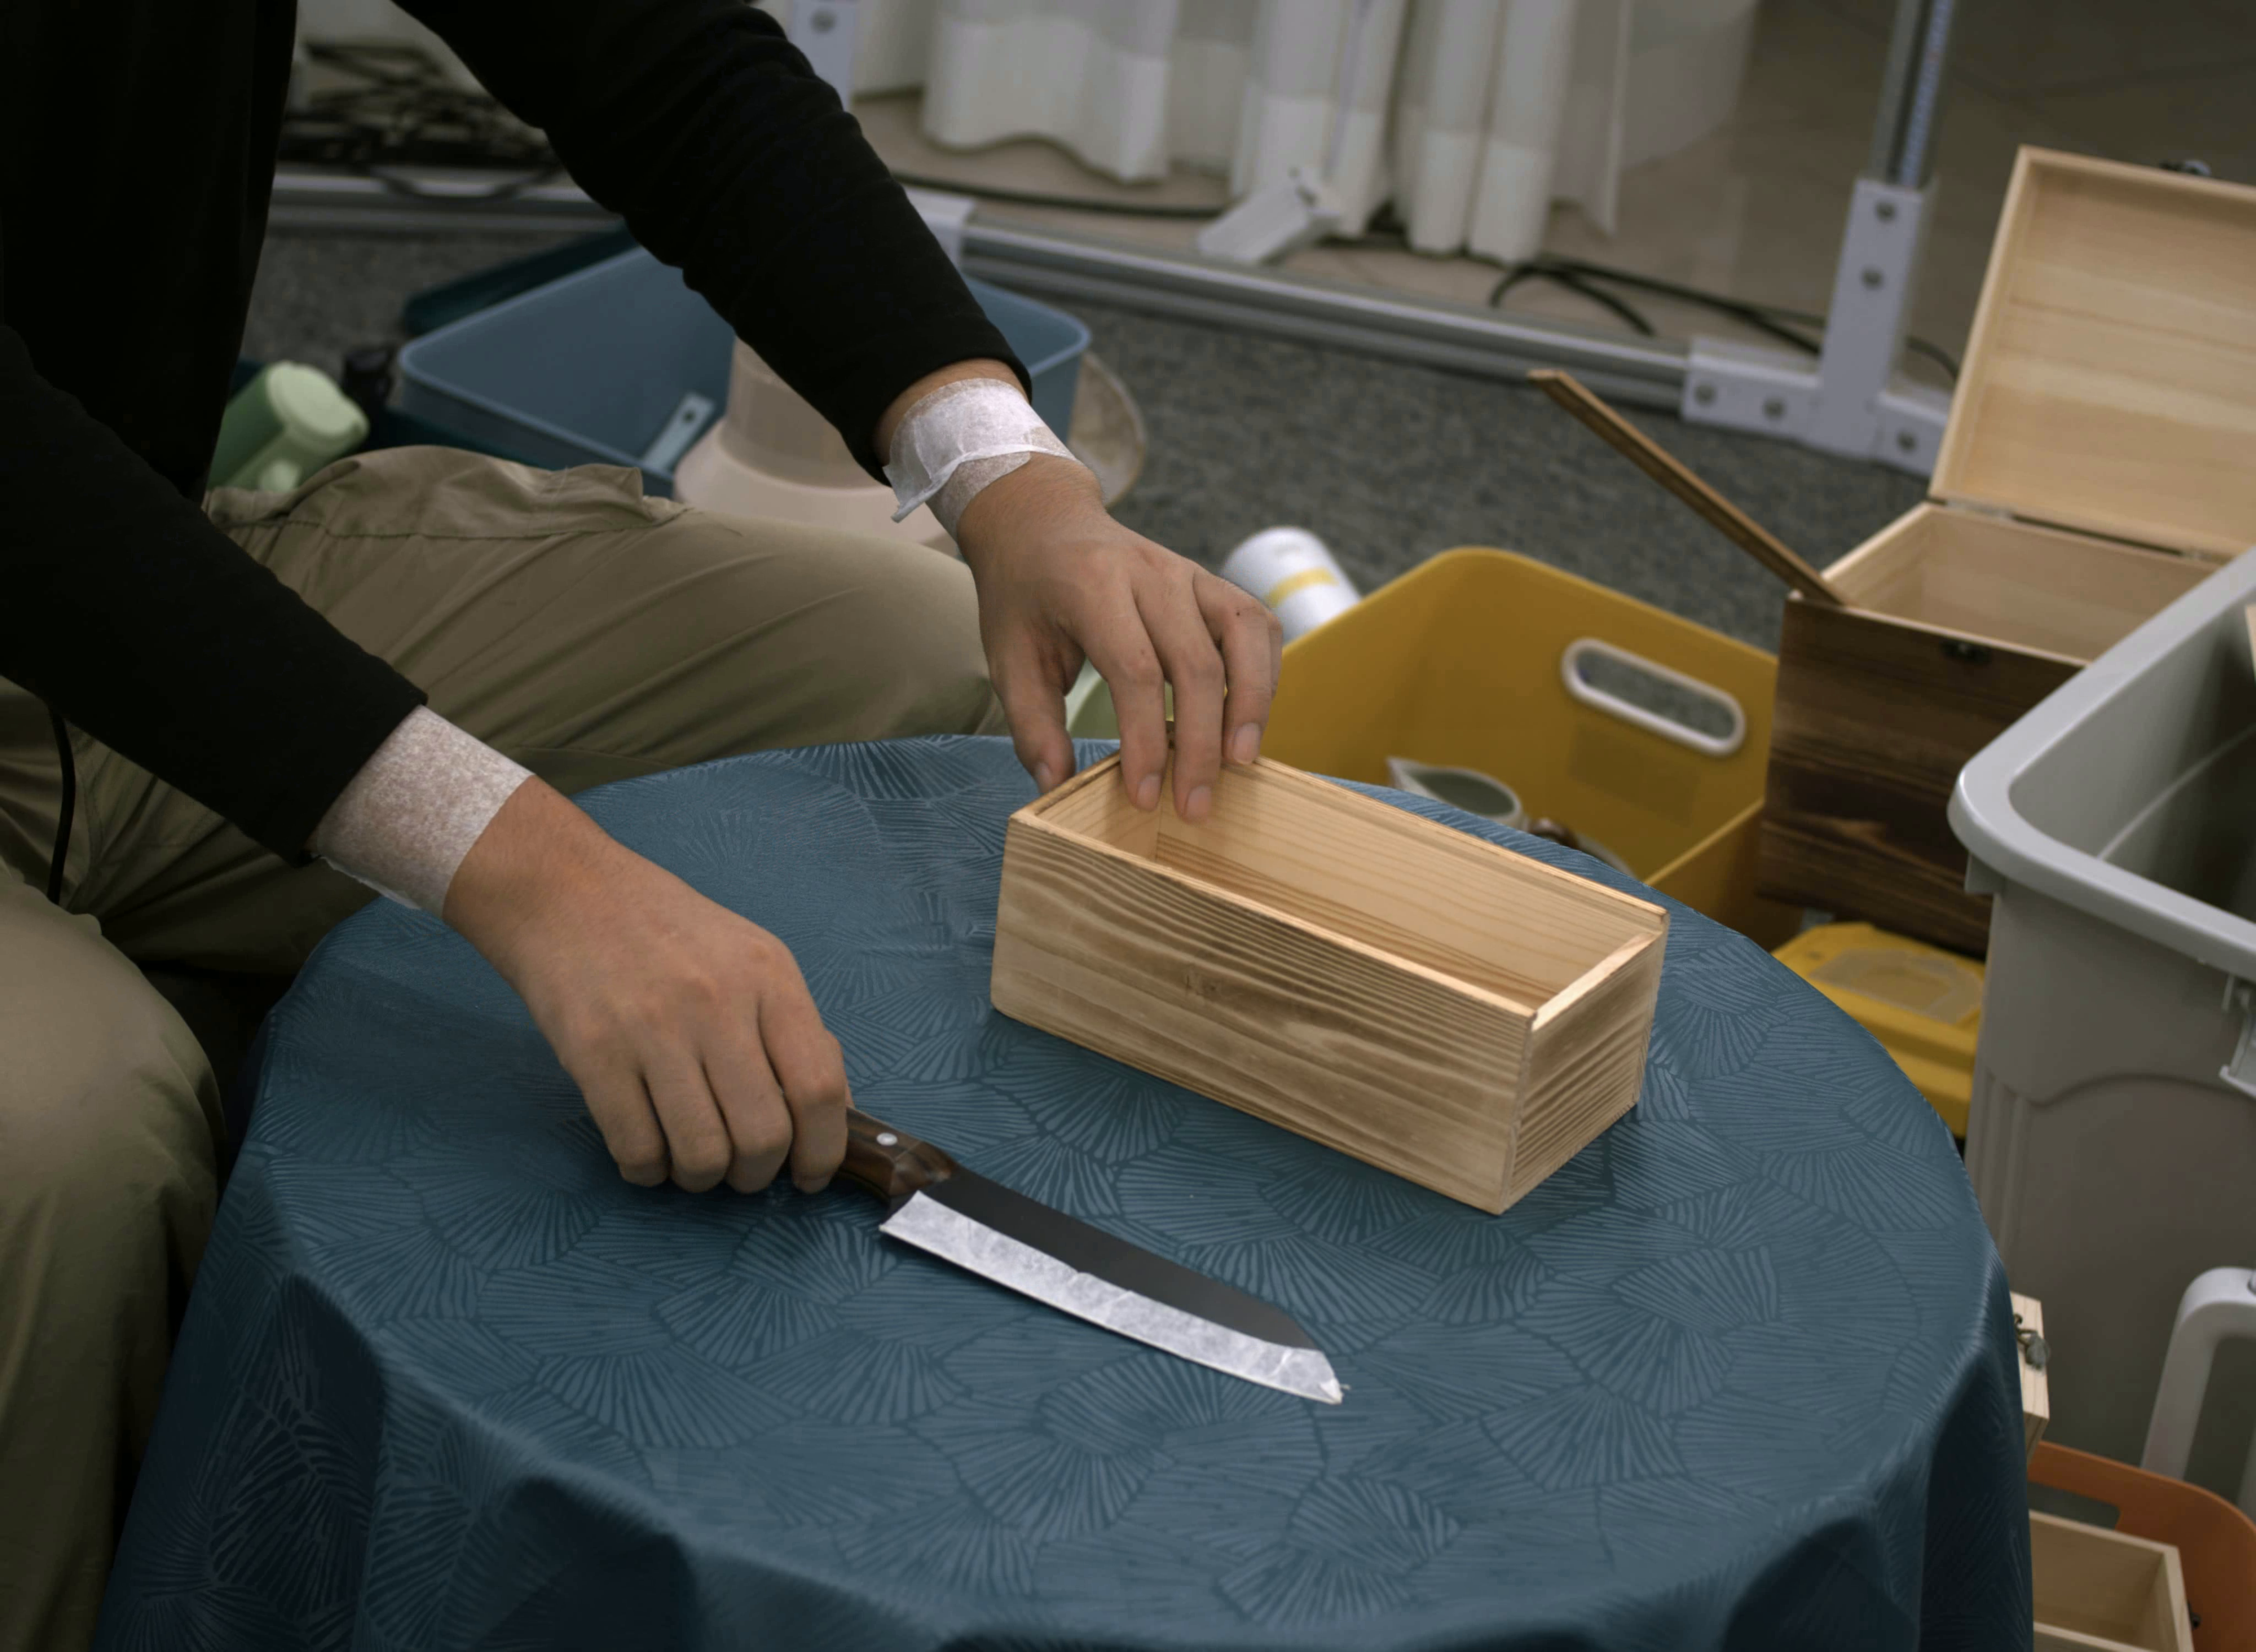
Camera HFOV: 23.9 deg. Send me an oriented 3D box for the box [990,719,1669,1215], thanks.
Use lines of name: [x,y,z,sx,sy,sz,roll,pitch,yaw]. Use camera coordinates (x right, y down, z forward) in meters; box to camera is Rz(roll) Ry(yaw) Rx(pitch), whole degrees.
box: [0.069,0.047,1.881,0.212,0.080,0.107,22,30,26]

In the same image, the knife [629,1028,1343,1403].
knife: [-0.051,0.130,1.762,0.290,0.020,0.050,24,39,25]
